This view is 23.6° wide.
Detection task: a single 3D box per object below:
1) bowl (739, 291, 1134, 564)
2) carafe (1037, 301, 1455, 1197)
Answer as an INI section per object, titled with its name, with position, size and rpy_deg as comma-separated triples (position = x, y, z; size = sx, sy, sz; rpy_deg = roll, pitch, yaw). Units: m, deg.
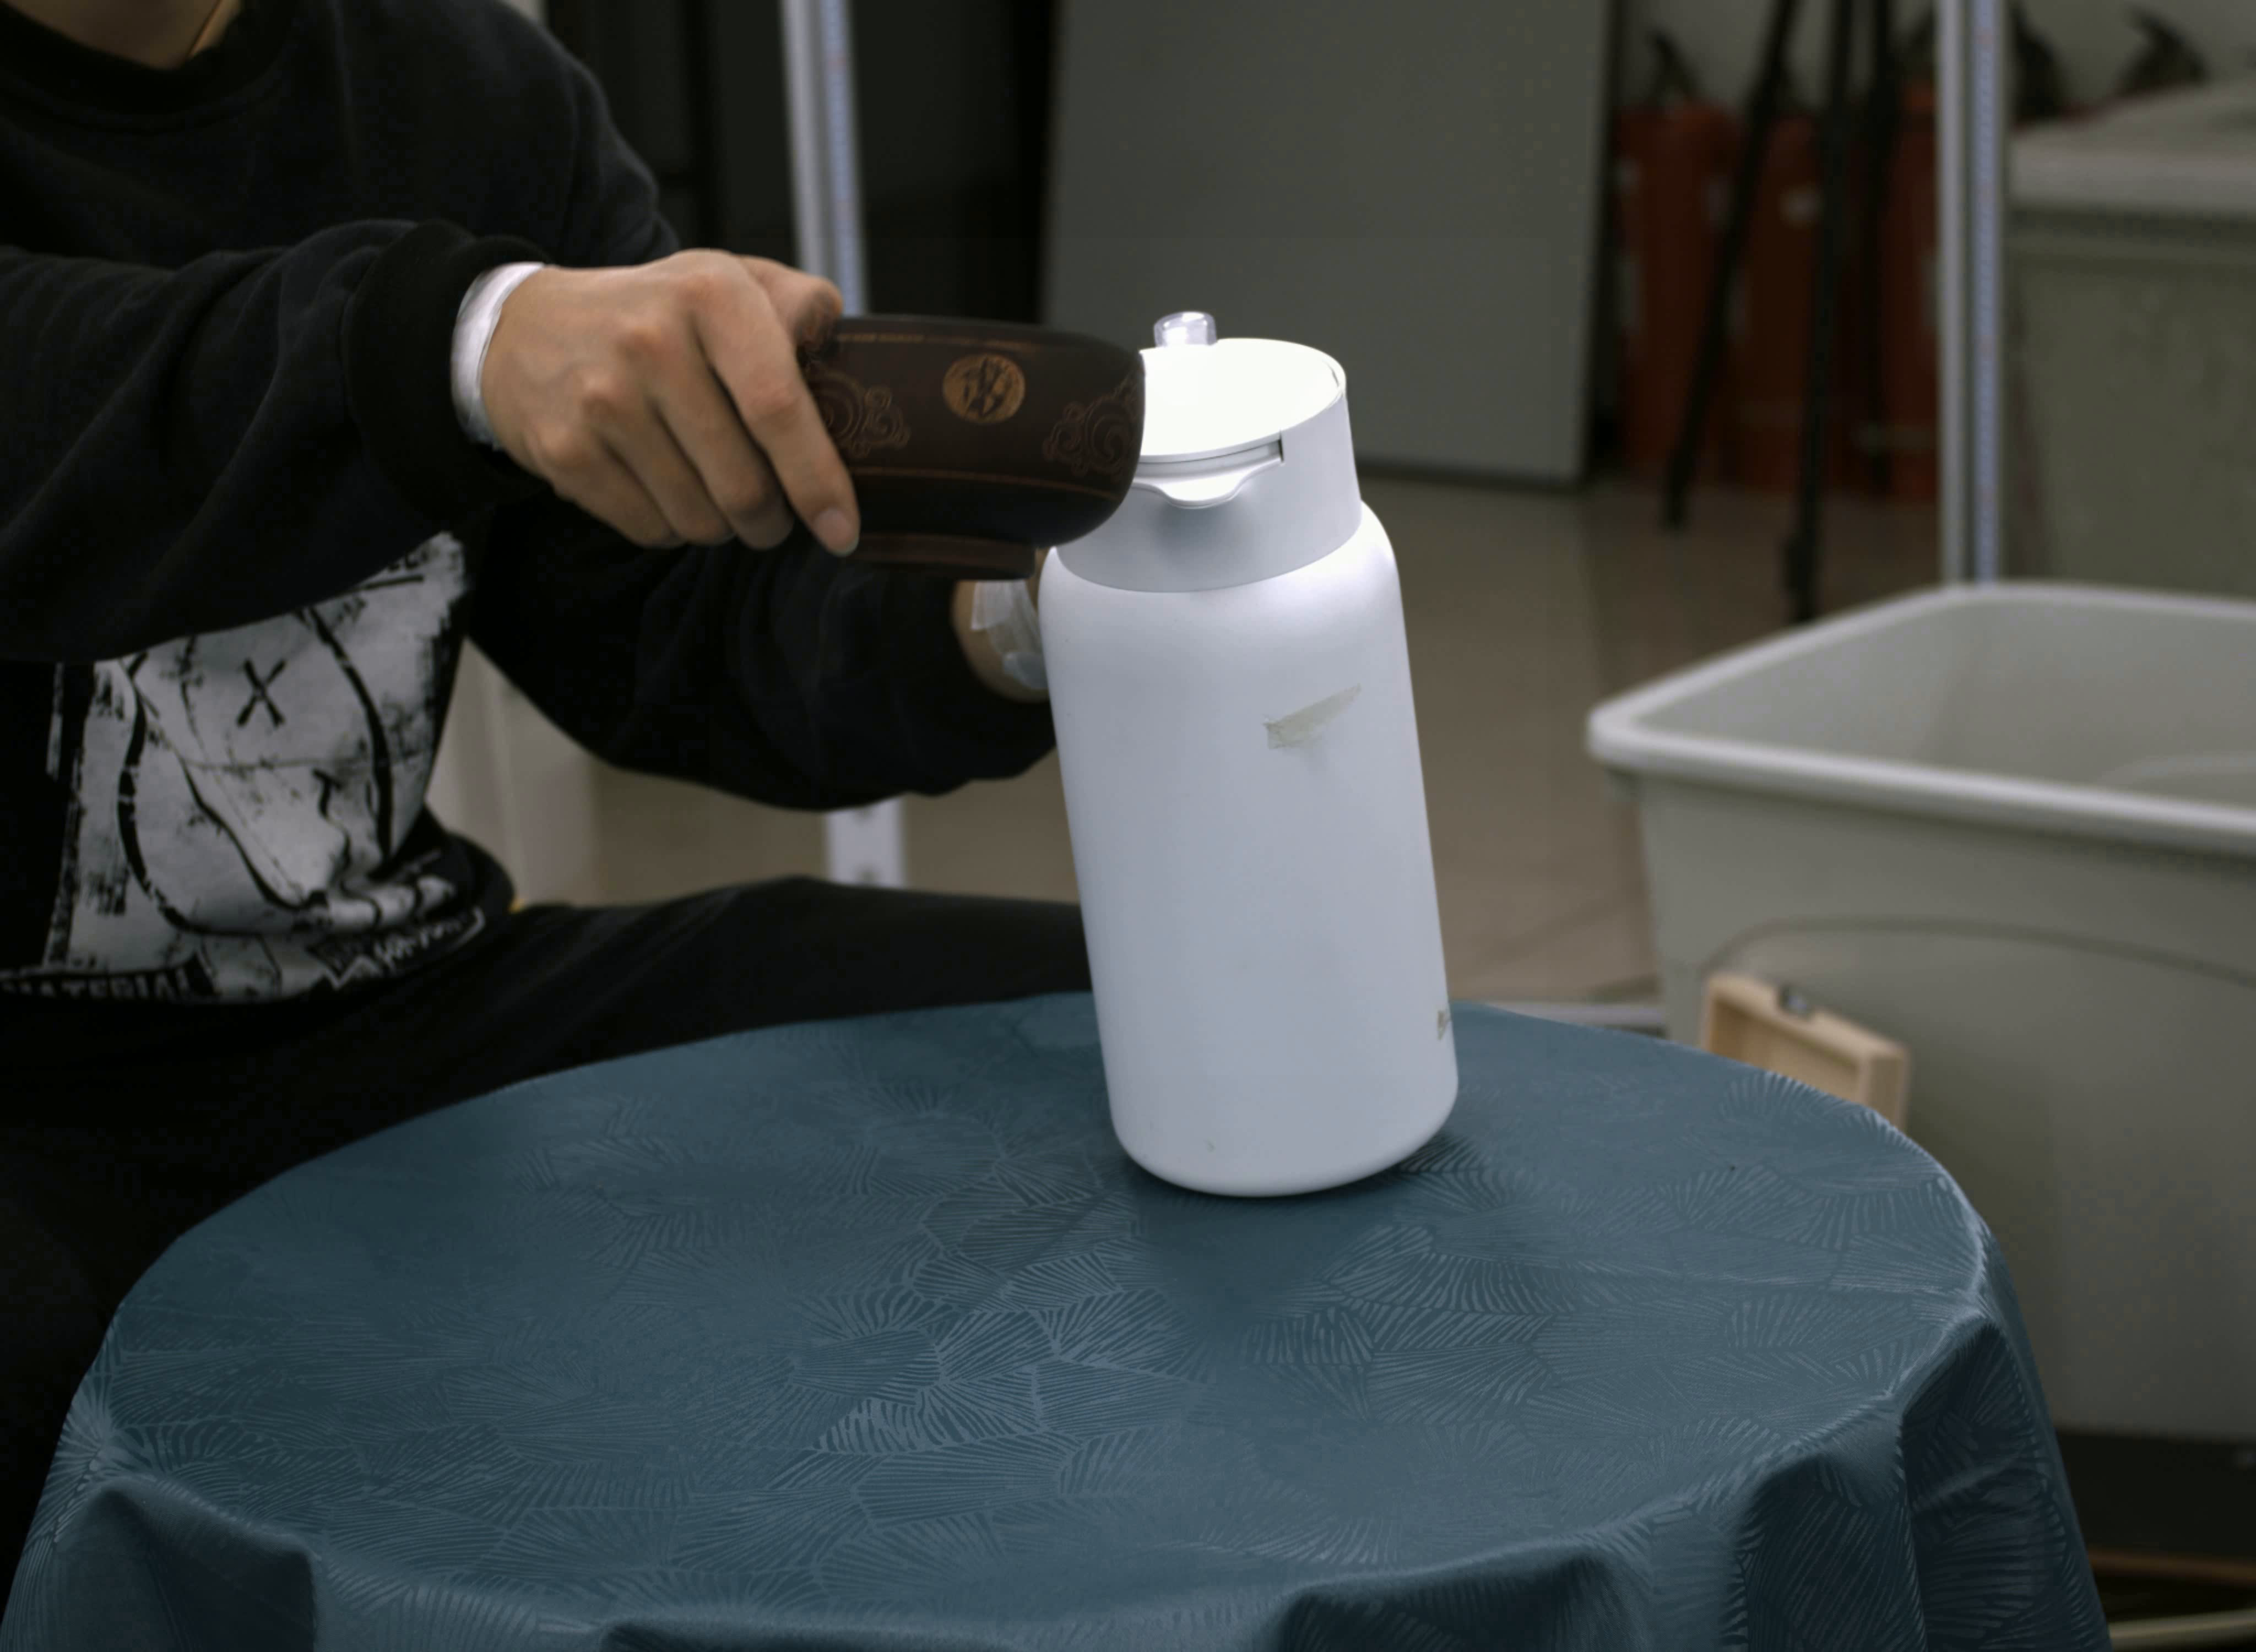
[bowl]
position = -0.057, -0.114, 1.585
size = 0.116, 0.071, 0.118
rpy_deg = 2, -3, -1
[carafe]
position = 0.034, -0.029, 1.765
size = 0.122, 0.270, 0.173
rpy_deg = -10, 24, 2
